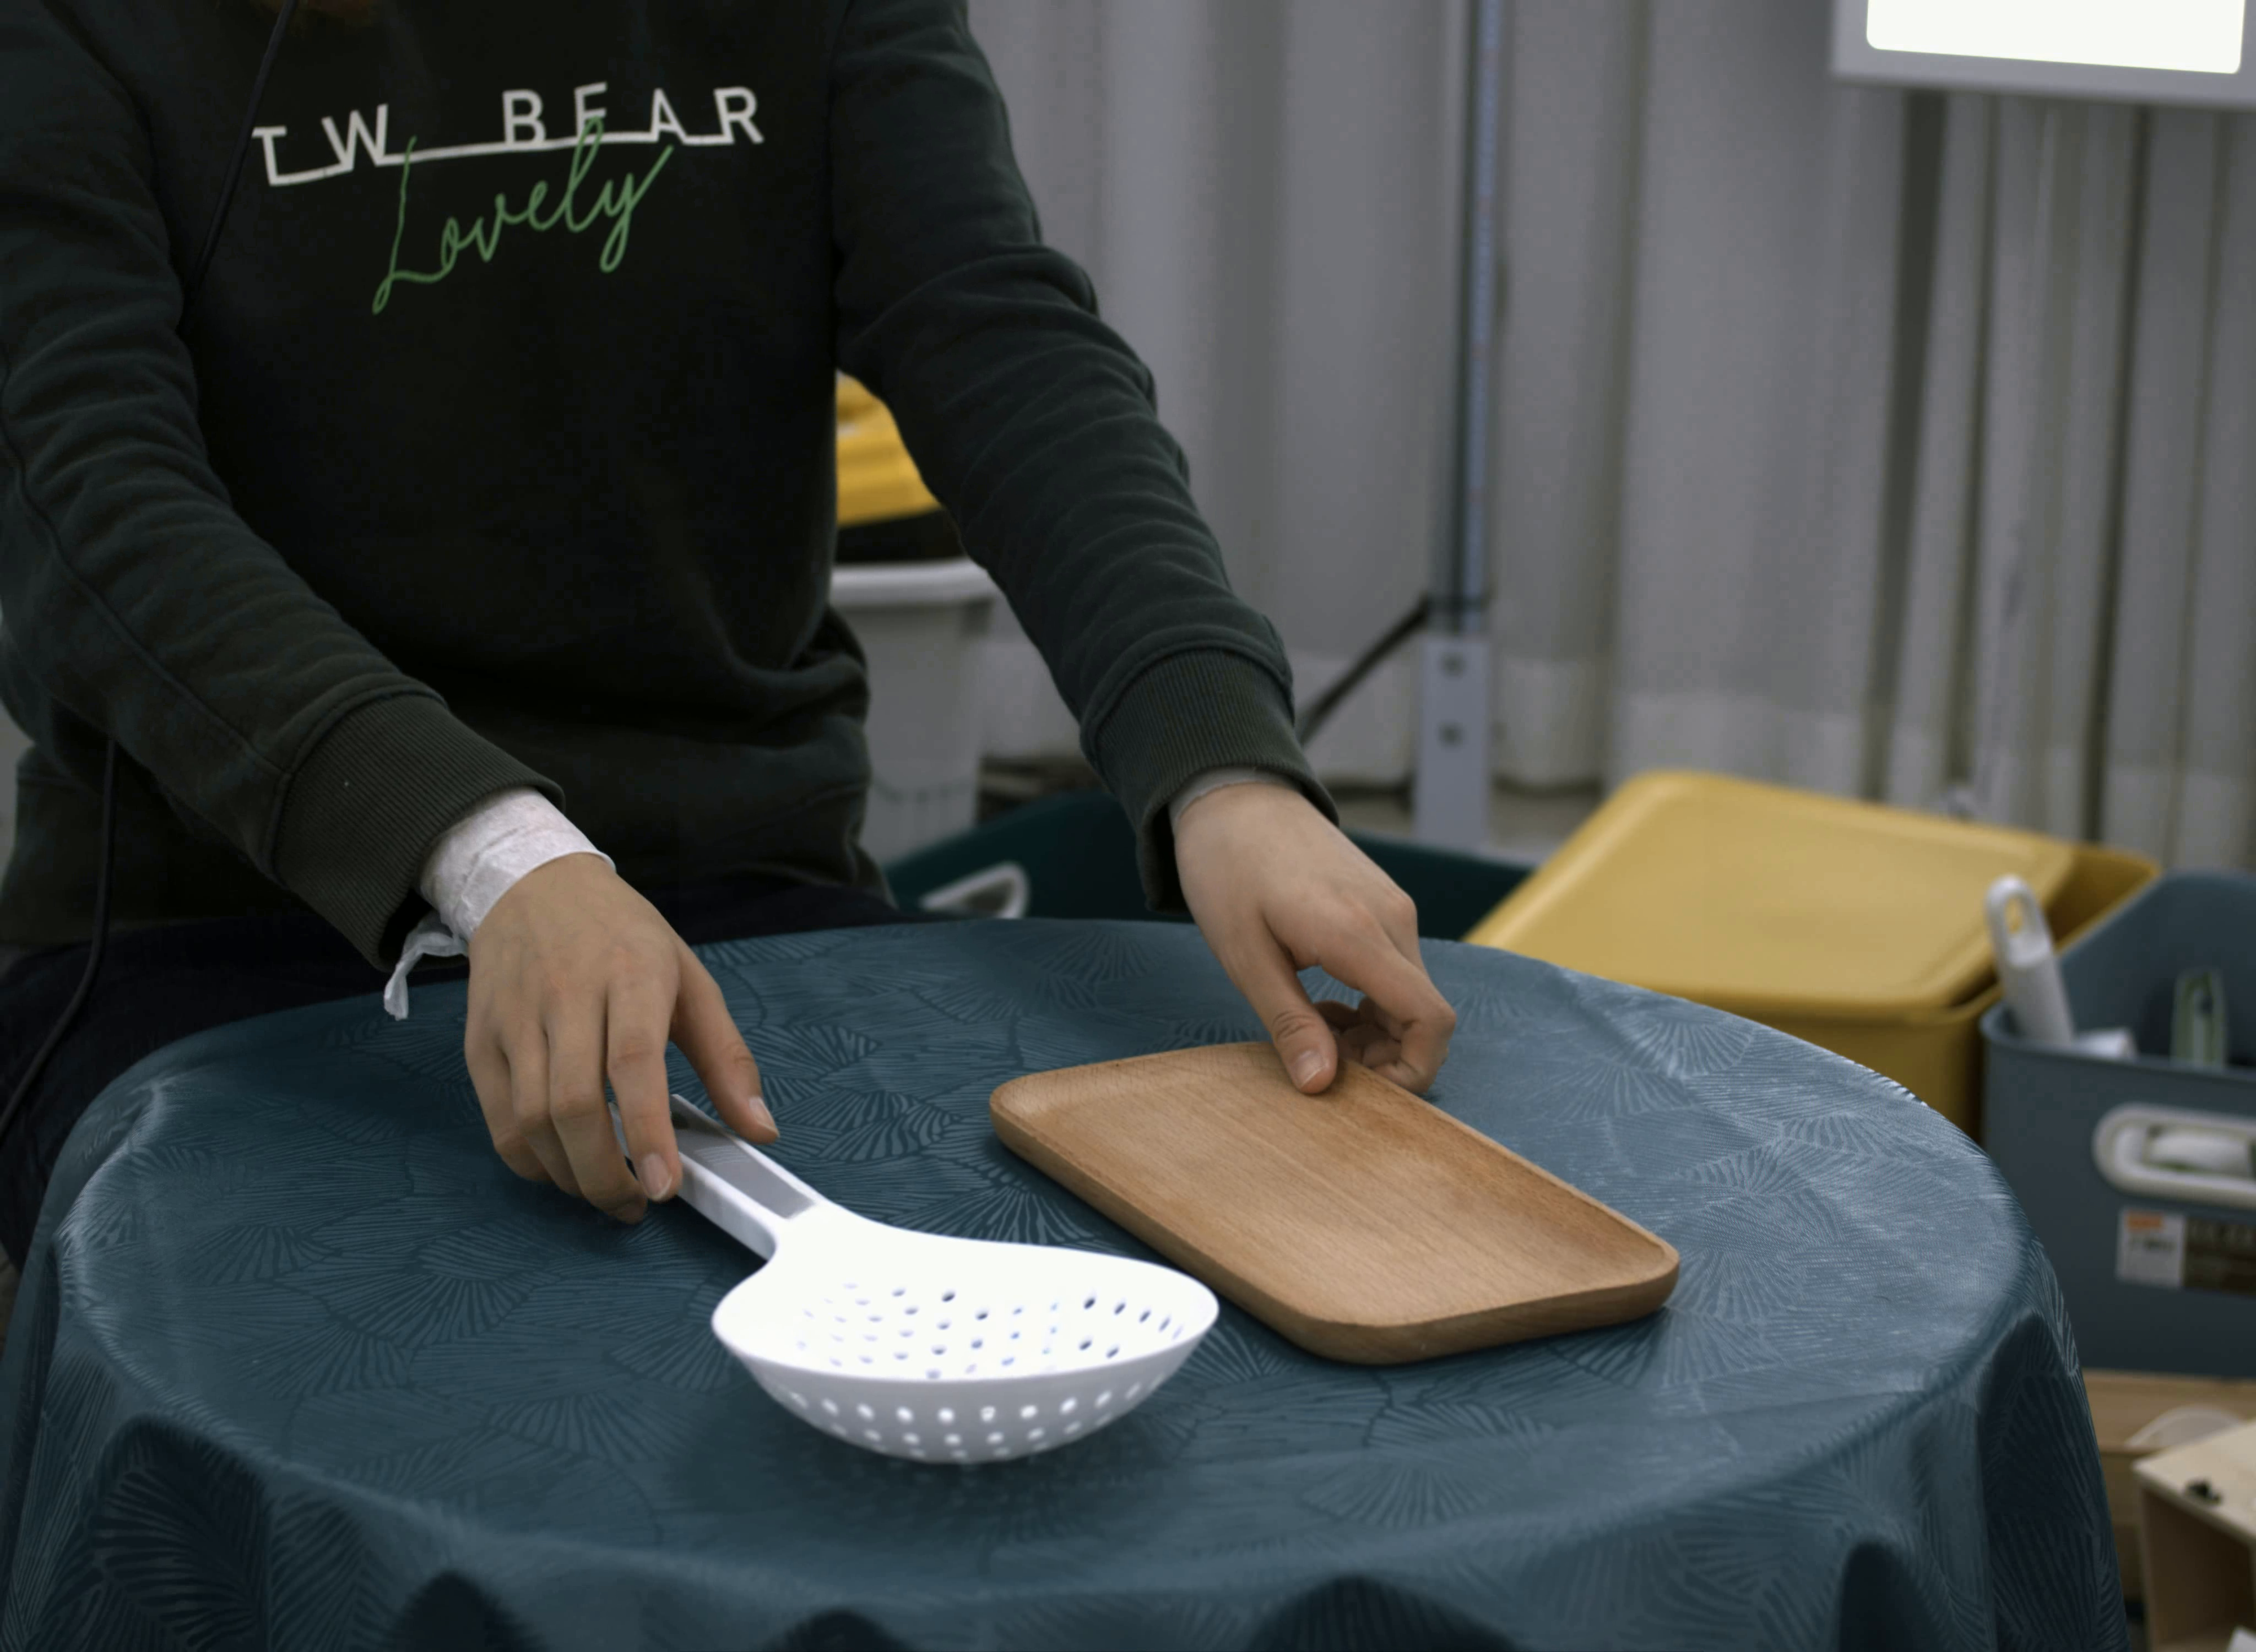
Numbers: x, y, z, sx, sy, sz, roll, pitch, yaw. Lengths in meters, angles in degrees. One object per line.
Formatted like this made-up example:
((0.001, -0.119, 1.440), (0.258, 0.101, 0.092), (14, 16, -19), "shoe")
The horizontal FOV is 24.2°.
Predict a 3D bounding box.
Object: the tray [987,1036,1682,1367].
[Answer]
((0.058, 0.111, 1.603), (0.131, 0.023, 0.247), (-5, 16, -26), "tray")

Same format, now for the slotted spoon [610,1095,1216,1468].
((-0.086, 0.121, 1.510), (0.136, 0.046, 0.345), (-4, 16, -23), "slotted spoon")
